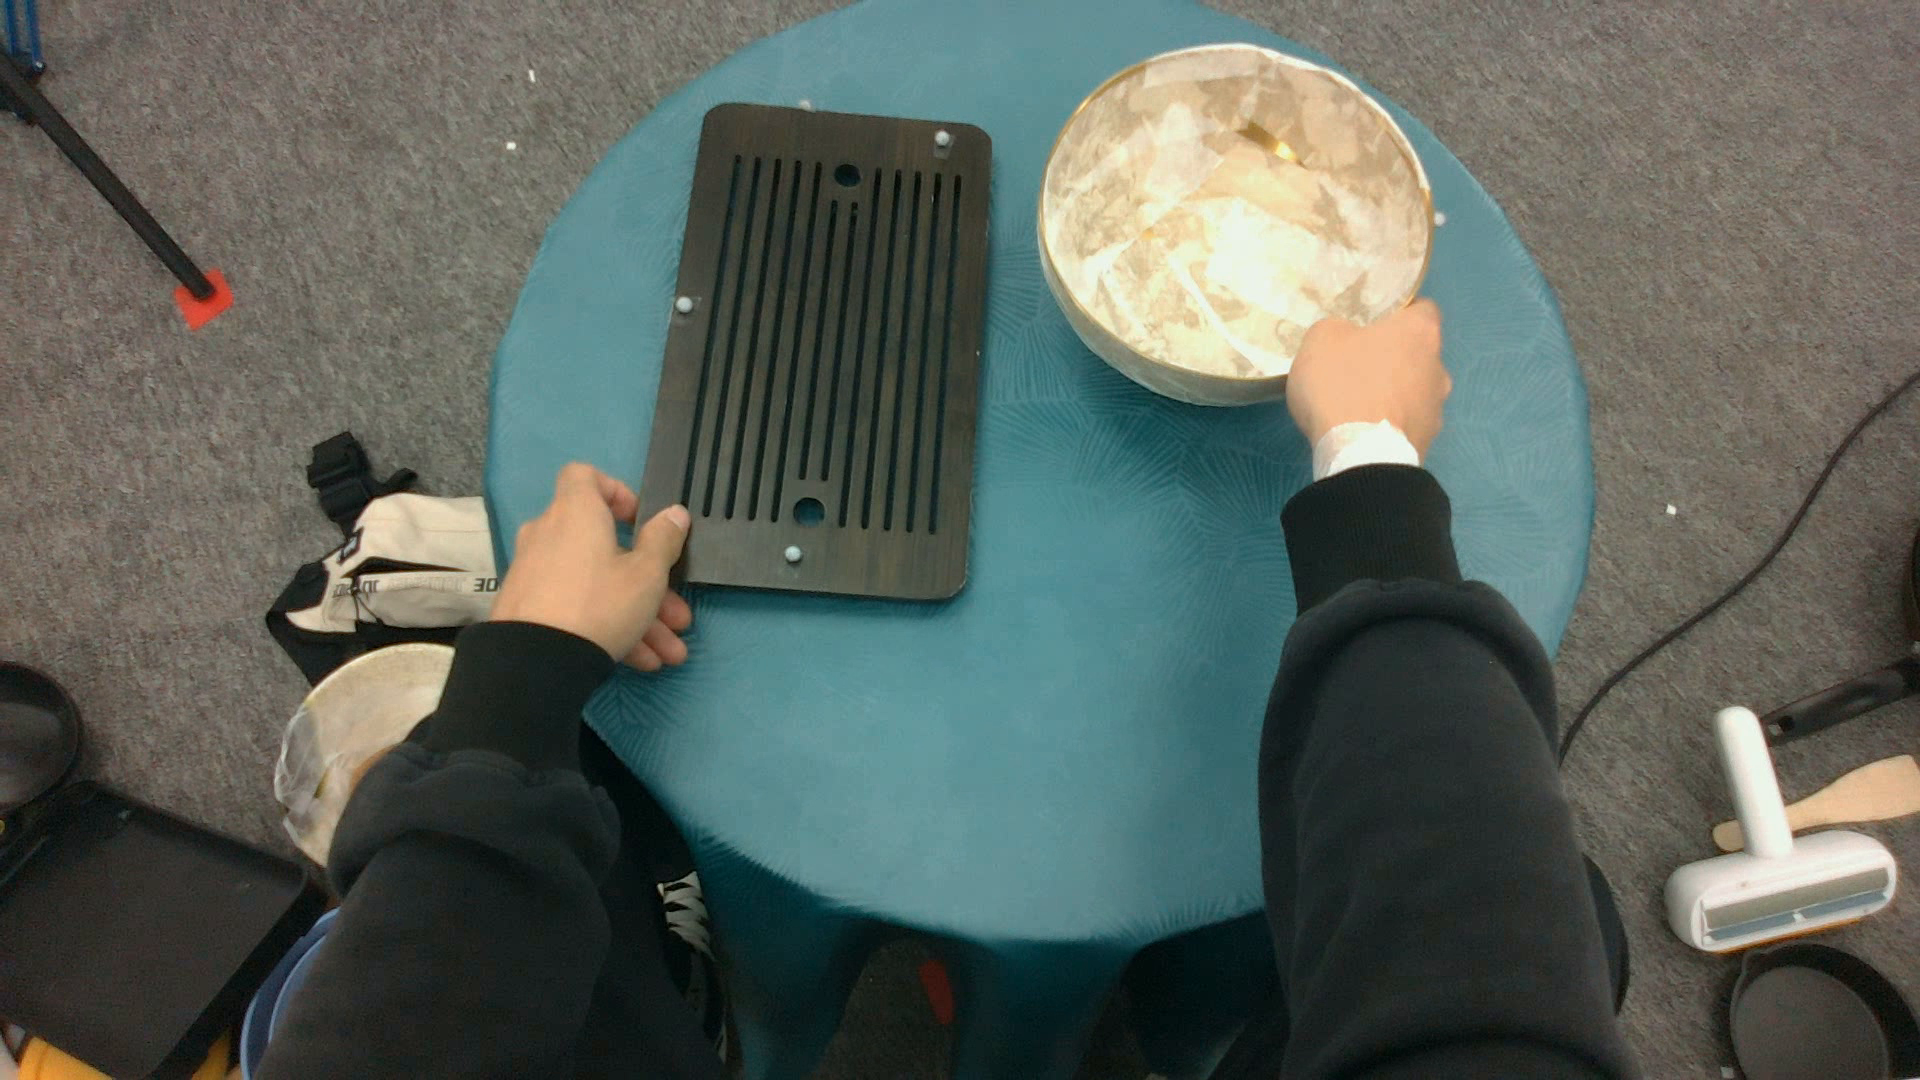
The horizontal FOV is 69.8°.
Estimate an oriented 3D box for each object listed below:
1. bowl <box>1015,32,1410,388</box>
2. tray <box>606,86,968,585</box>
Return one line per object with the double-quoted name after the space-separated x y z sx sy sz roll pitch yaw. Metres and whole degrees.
0.125 -0.161 0.740 0.215 0.094 0.215 1 68 -2 "bowl"
-0.086 -0.120 0.753 0.170 0.018 0.307 4 65 -2 "tray"
